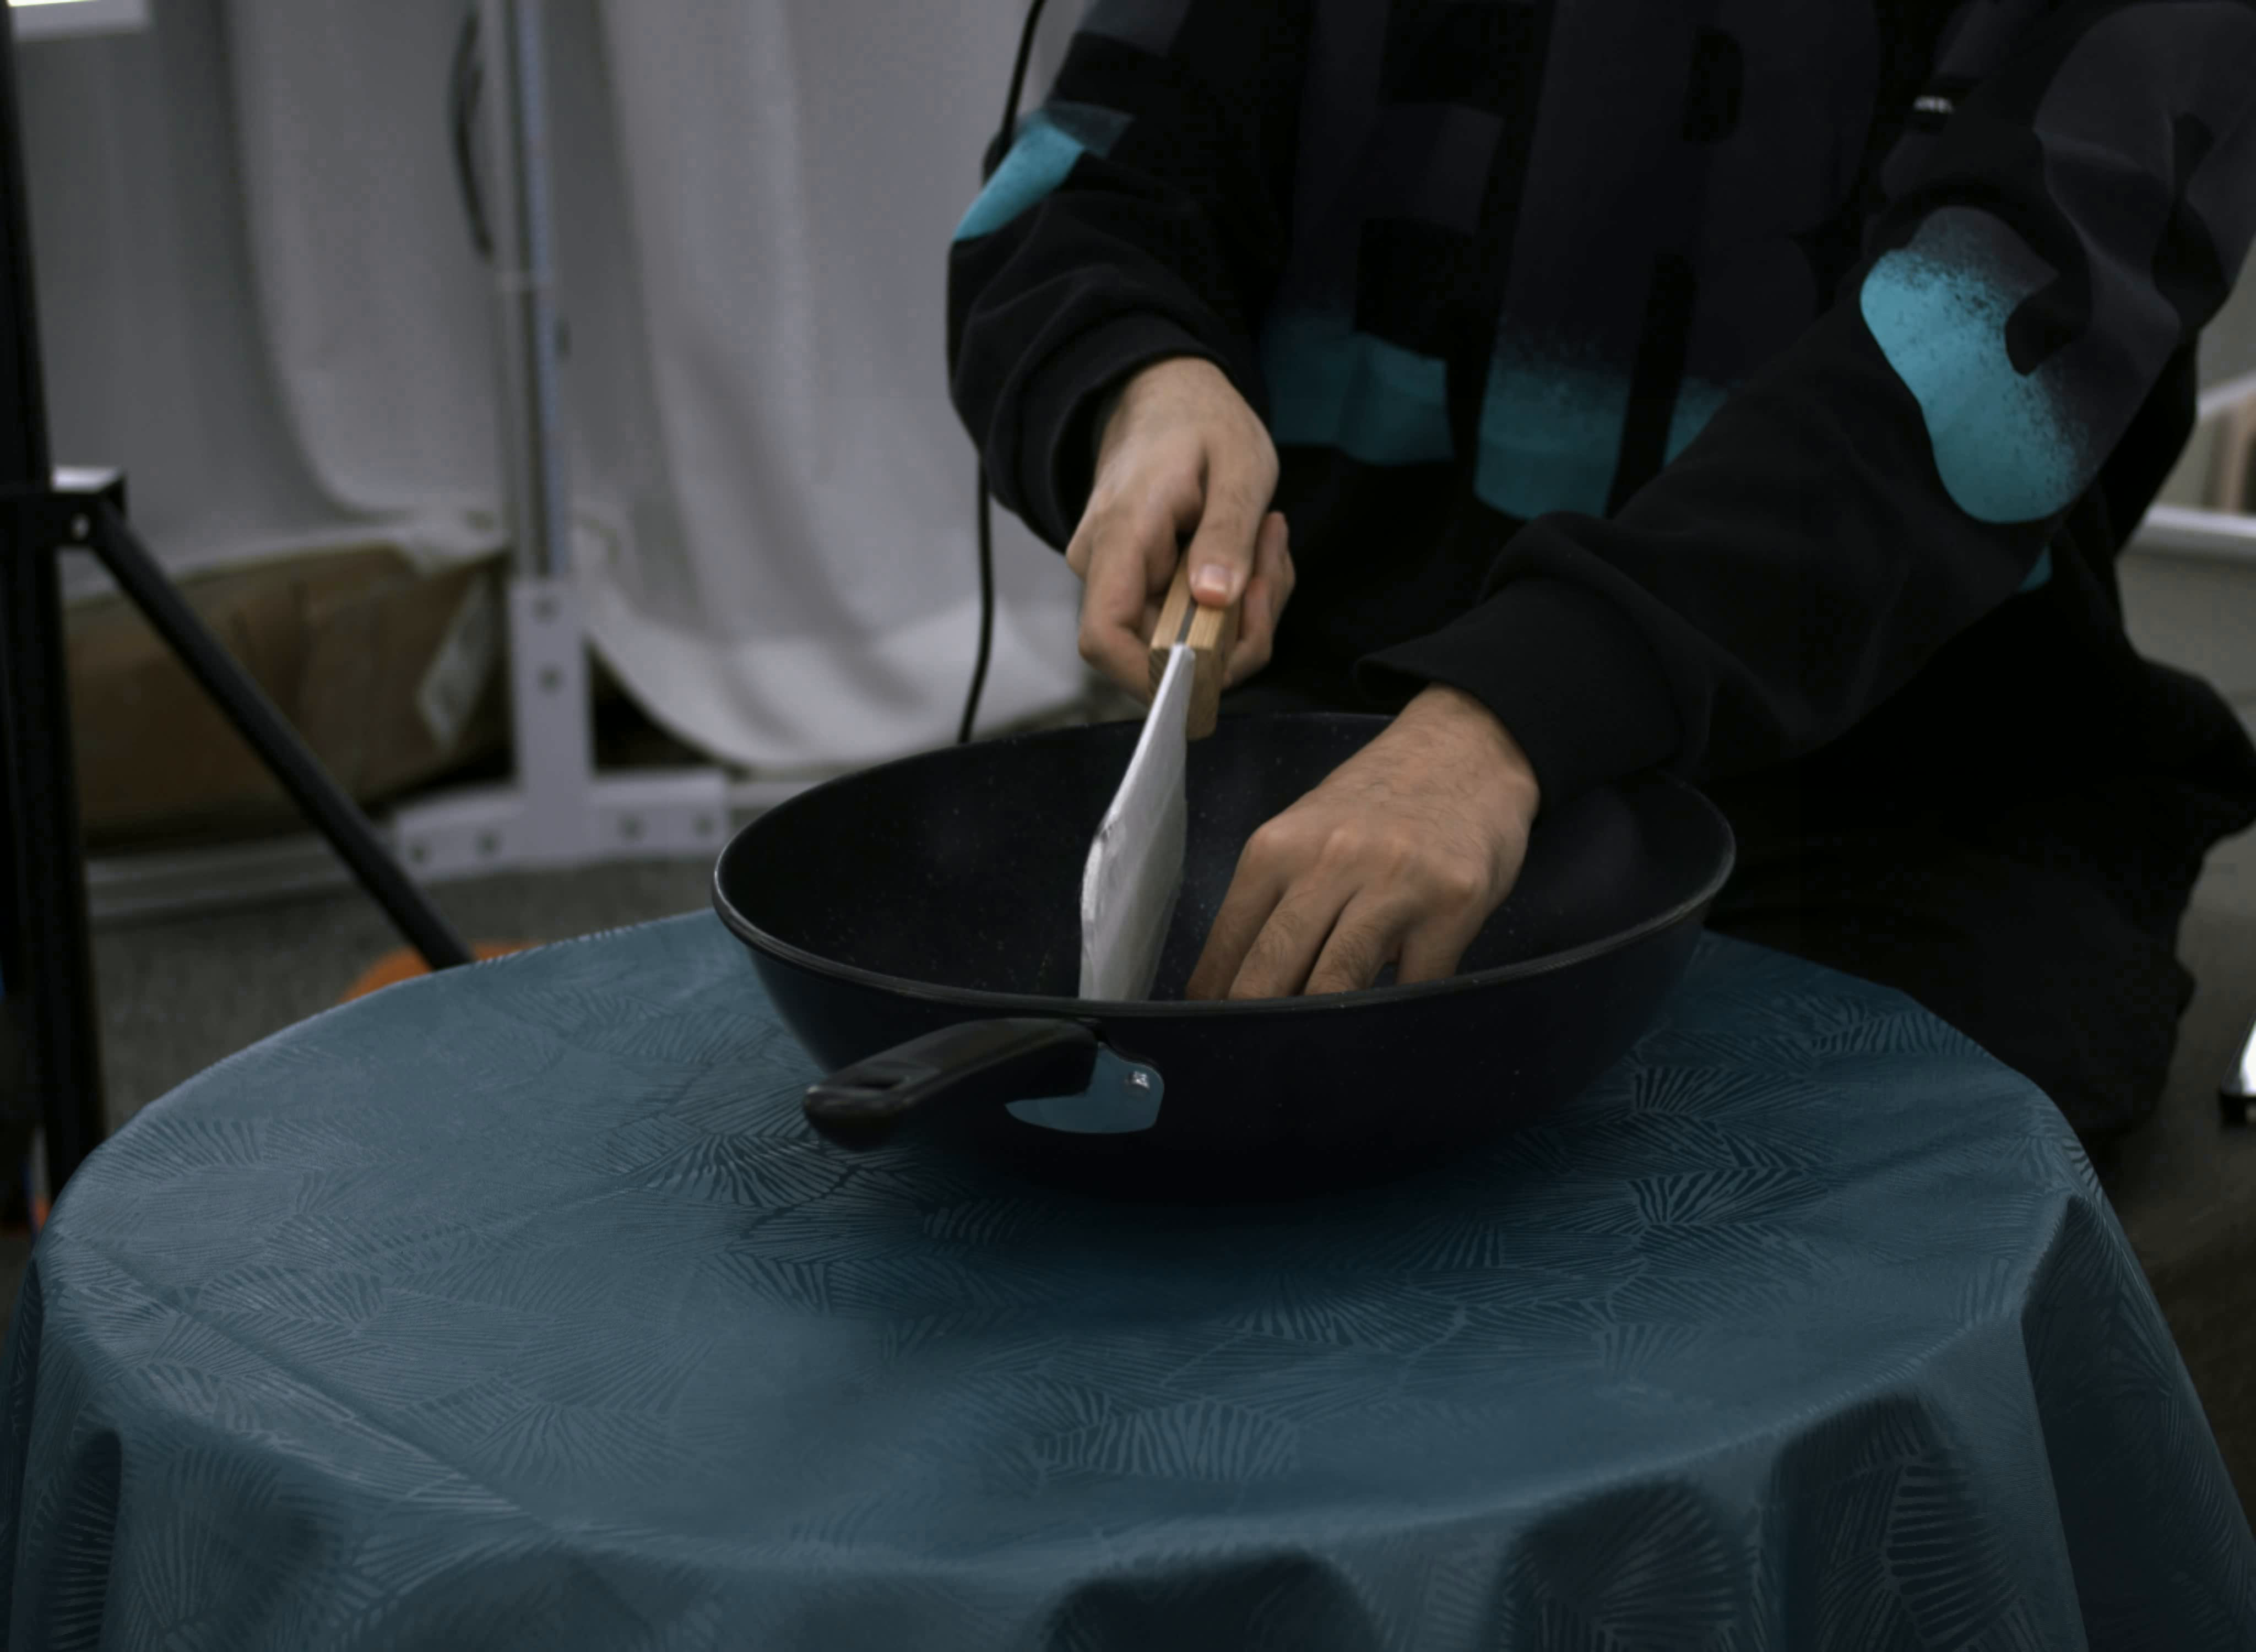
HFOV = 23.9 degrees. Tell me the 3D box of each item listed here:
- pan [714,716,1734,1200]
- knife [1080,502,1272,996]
[{"bbox_3d":[0.005,0.058,1.541,0.313,0.111,0.472,1,16,19],"label":"pan"},{"bbox_3d":[0.012,-0.018,1.644,0.022,0.113,0.315,4,31,9],"label":"knife"}]
